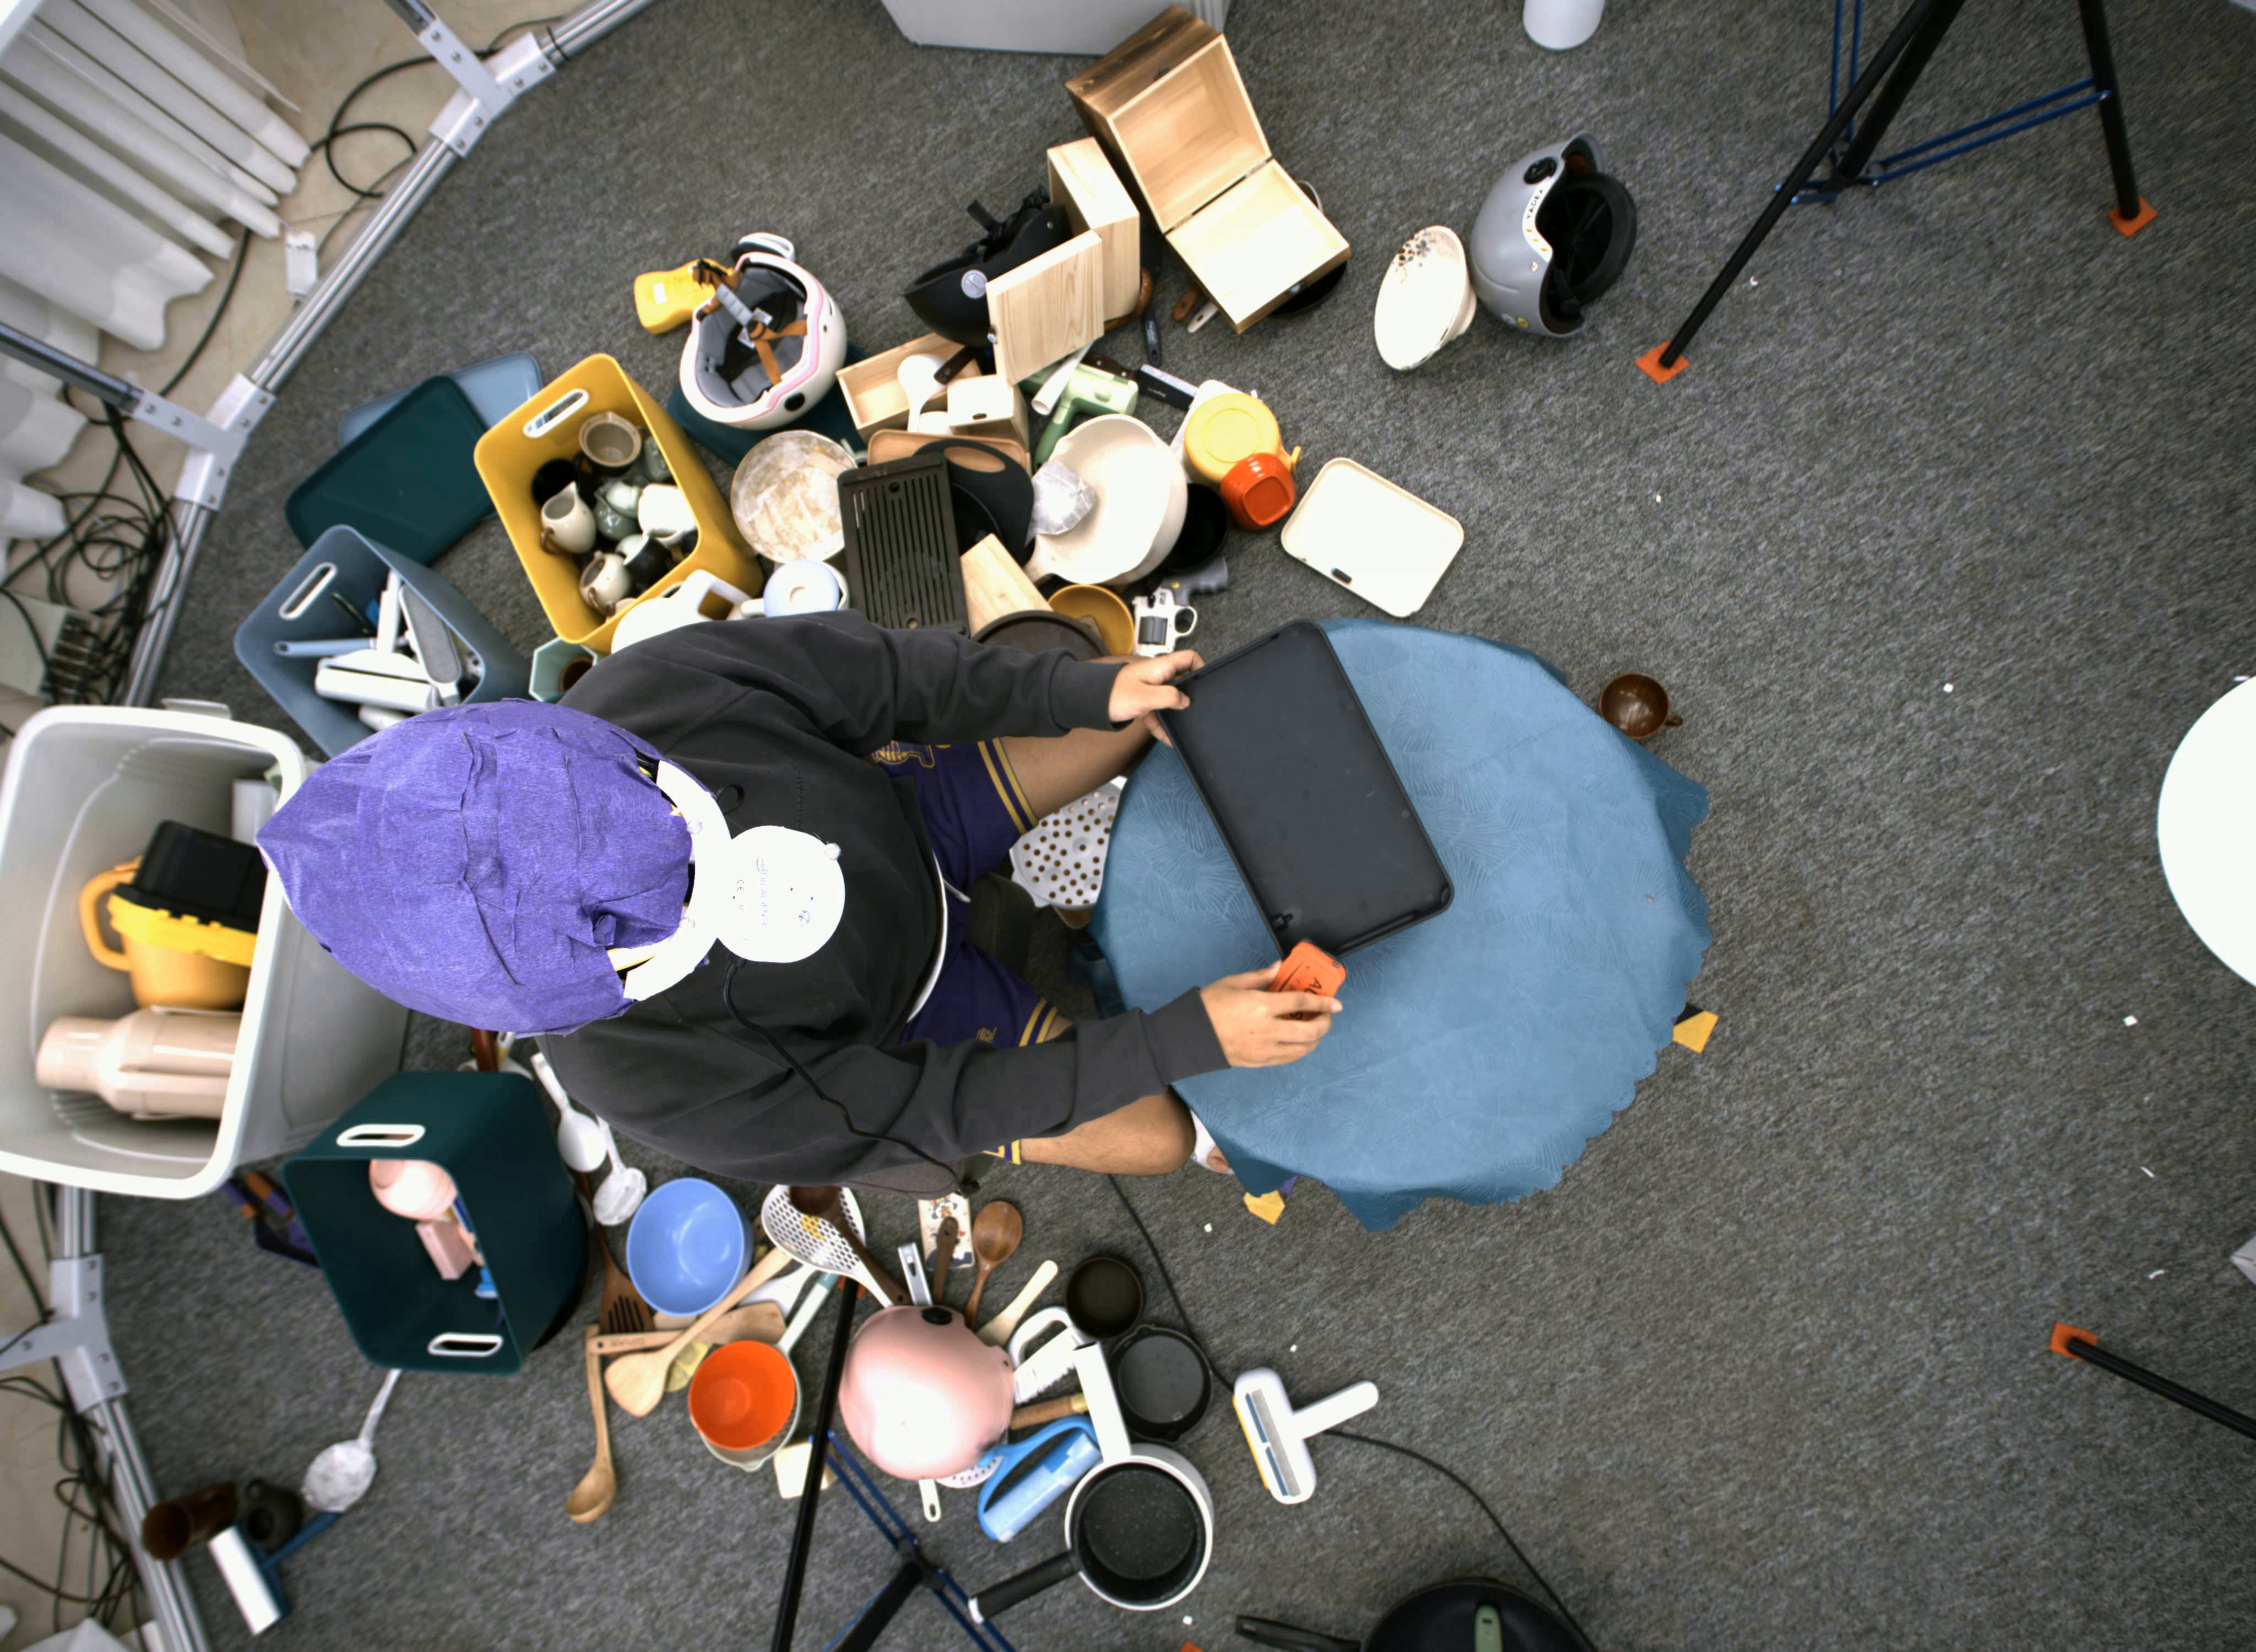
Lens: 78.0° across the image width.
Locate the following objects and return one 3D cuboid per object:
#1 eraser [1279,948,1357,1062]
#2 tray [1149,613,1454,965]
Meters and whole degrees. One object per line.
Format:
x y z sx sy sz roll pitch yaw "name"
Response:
0.188 0.176 1.369 0.059 0.022 0.110 16 115 17 "eraser"
0.171 -0.034 1.352 0.186 0.036 0.319 -27 97 19 "tray"
